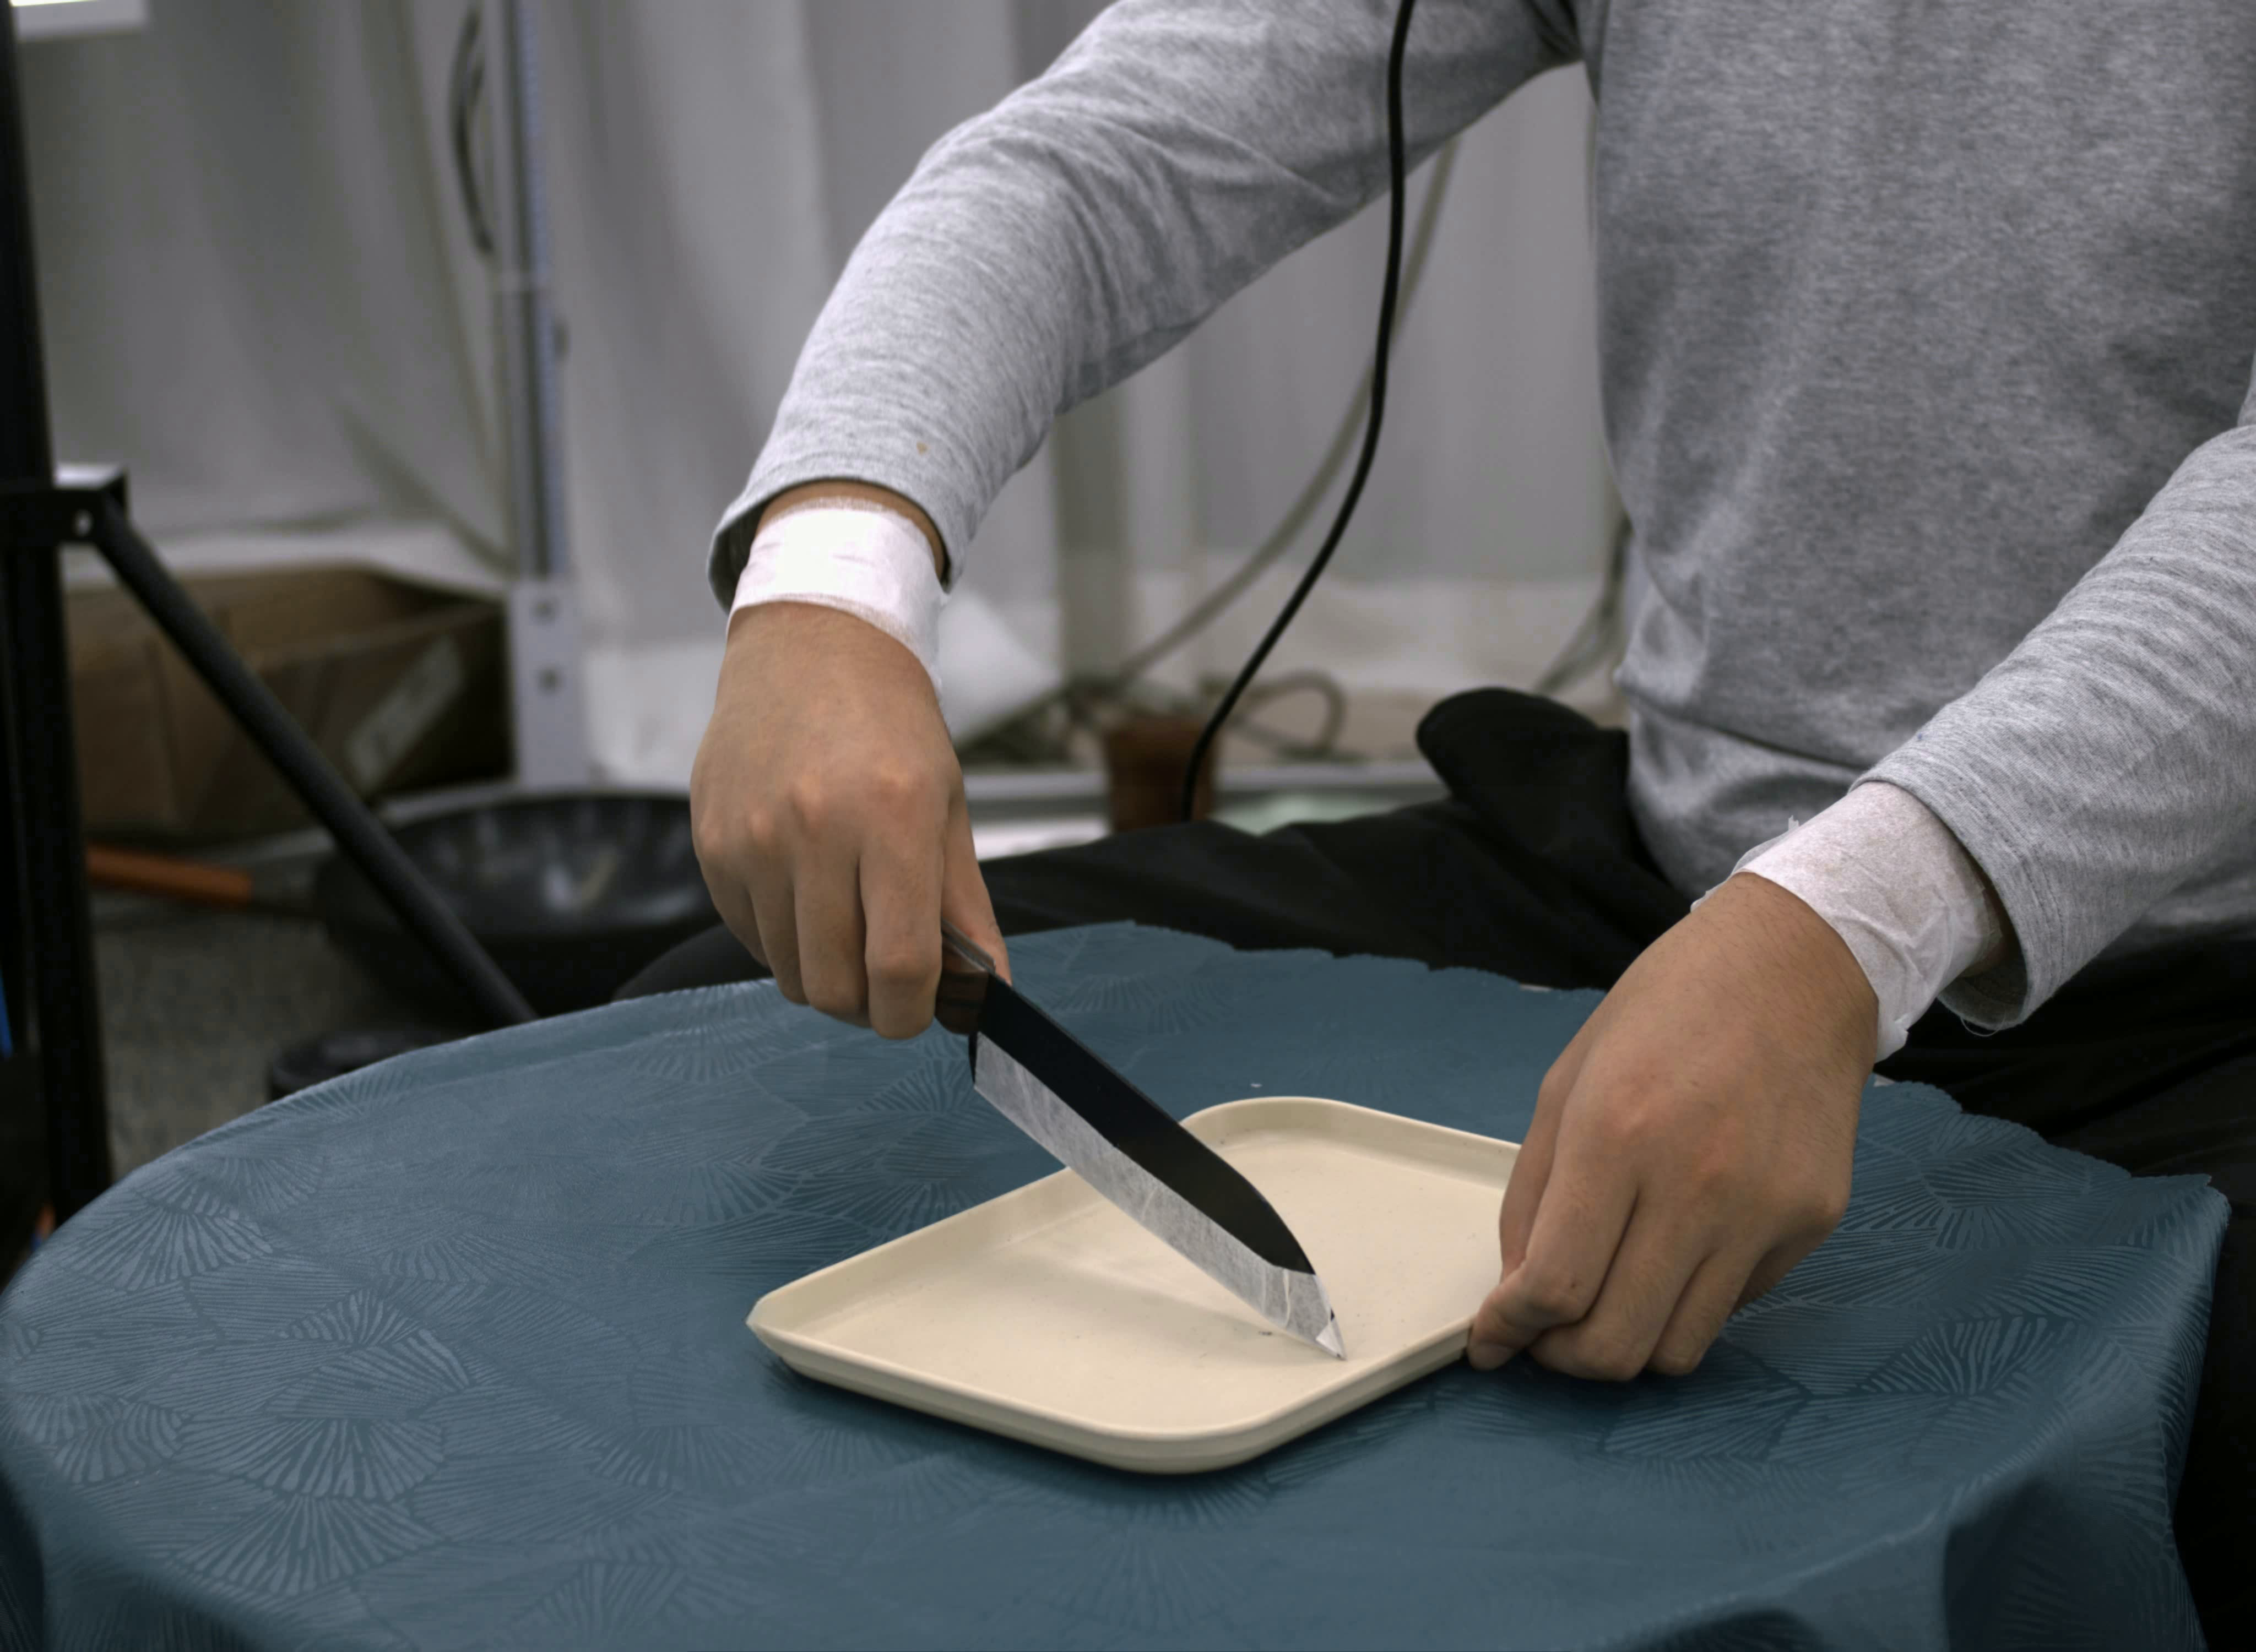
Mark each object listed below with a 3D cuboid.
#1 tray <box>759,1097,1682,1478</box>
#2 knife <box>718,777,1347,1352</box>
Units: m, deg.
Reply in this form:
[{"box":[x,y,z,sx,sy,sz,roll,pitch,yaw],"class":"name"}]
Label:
[{"box":[0.028,0.126,1.464,0.175,0.017,0.234,12,21,40],"class":"tray"},{"box":[-0.029,0.065,1.506,0.019,0.050,0.296,-21,43,-31],"class":"knife"}]
